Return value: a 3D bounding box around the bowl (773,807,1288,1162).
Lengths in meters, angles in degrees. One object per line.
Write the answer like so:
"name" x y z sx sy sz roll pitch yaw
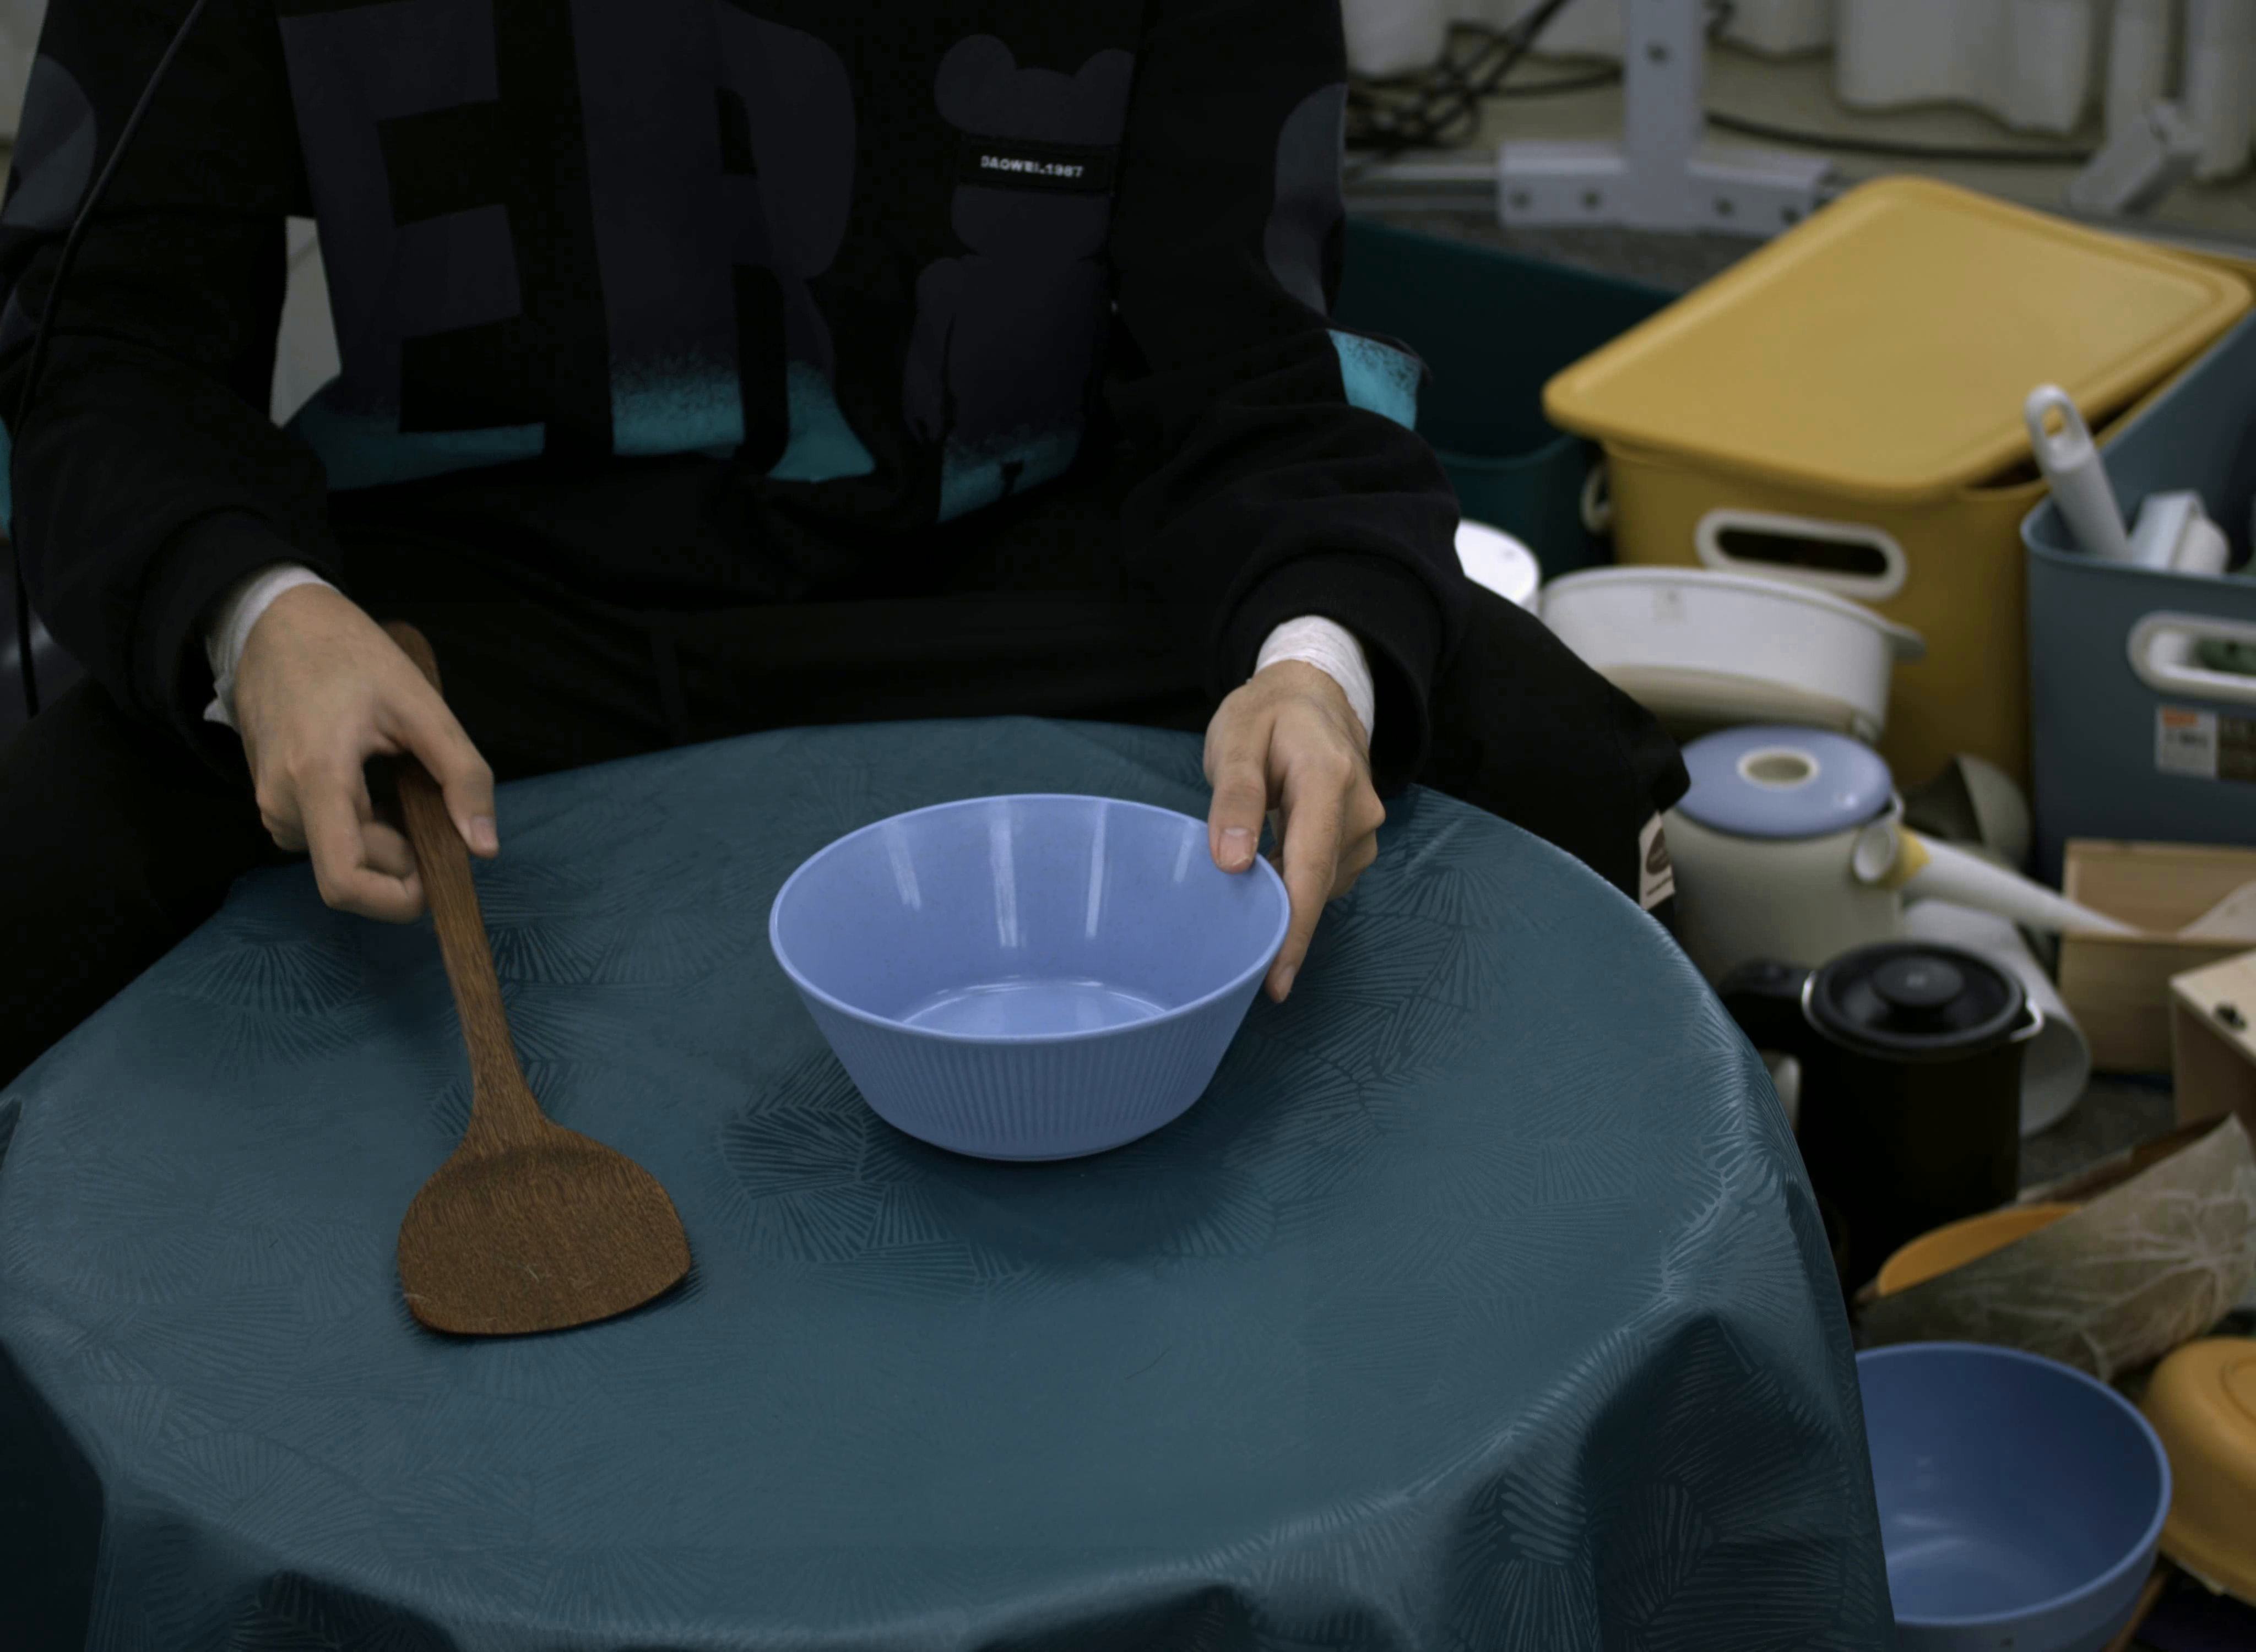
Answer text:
"bowl" -0.032 0.059 1.907 0.175 0.069 0.178 -1 25 1

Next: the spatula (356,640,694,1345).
"spatula" -0.228 0.047 1.947 0.096 0.015 0.392 -10 40 -10
